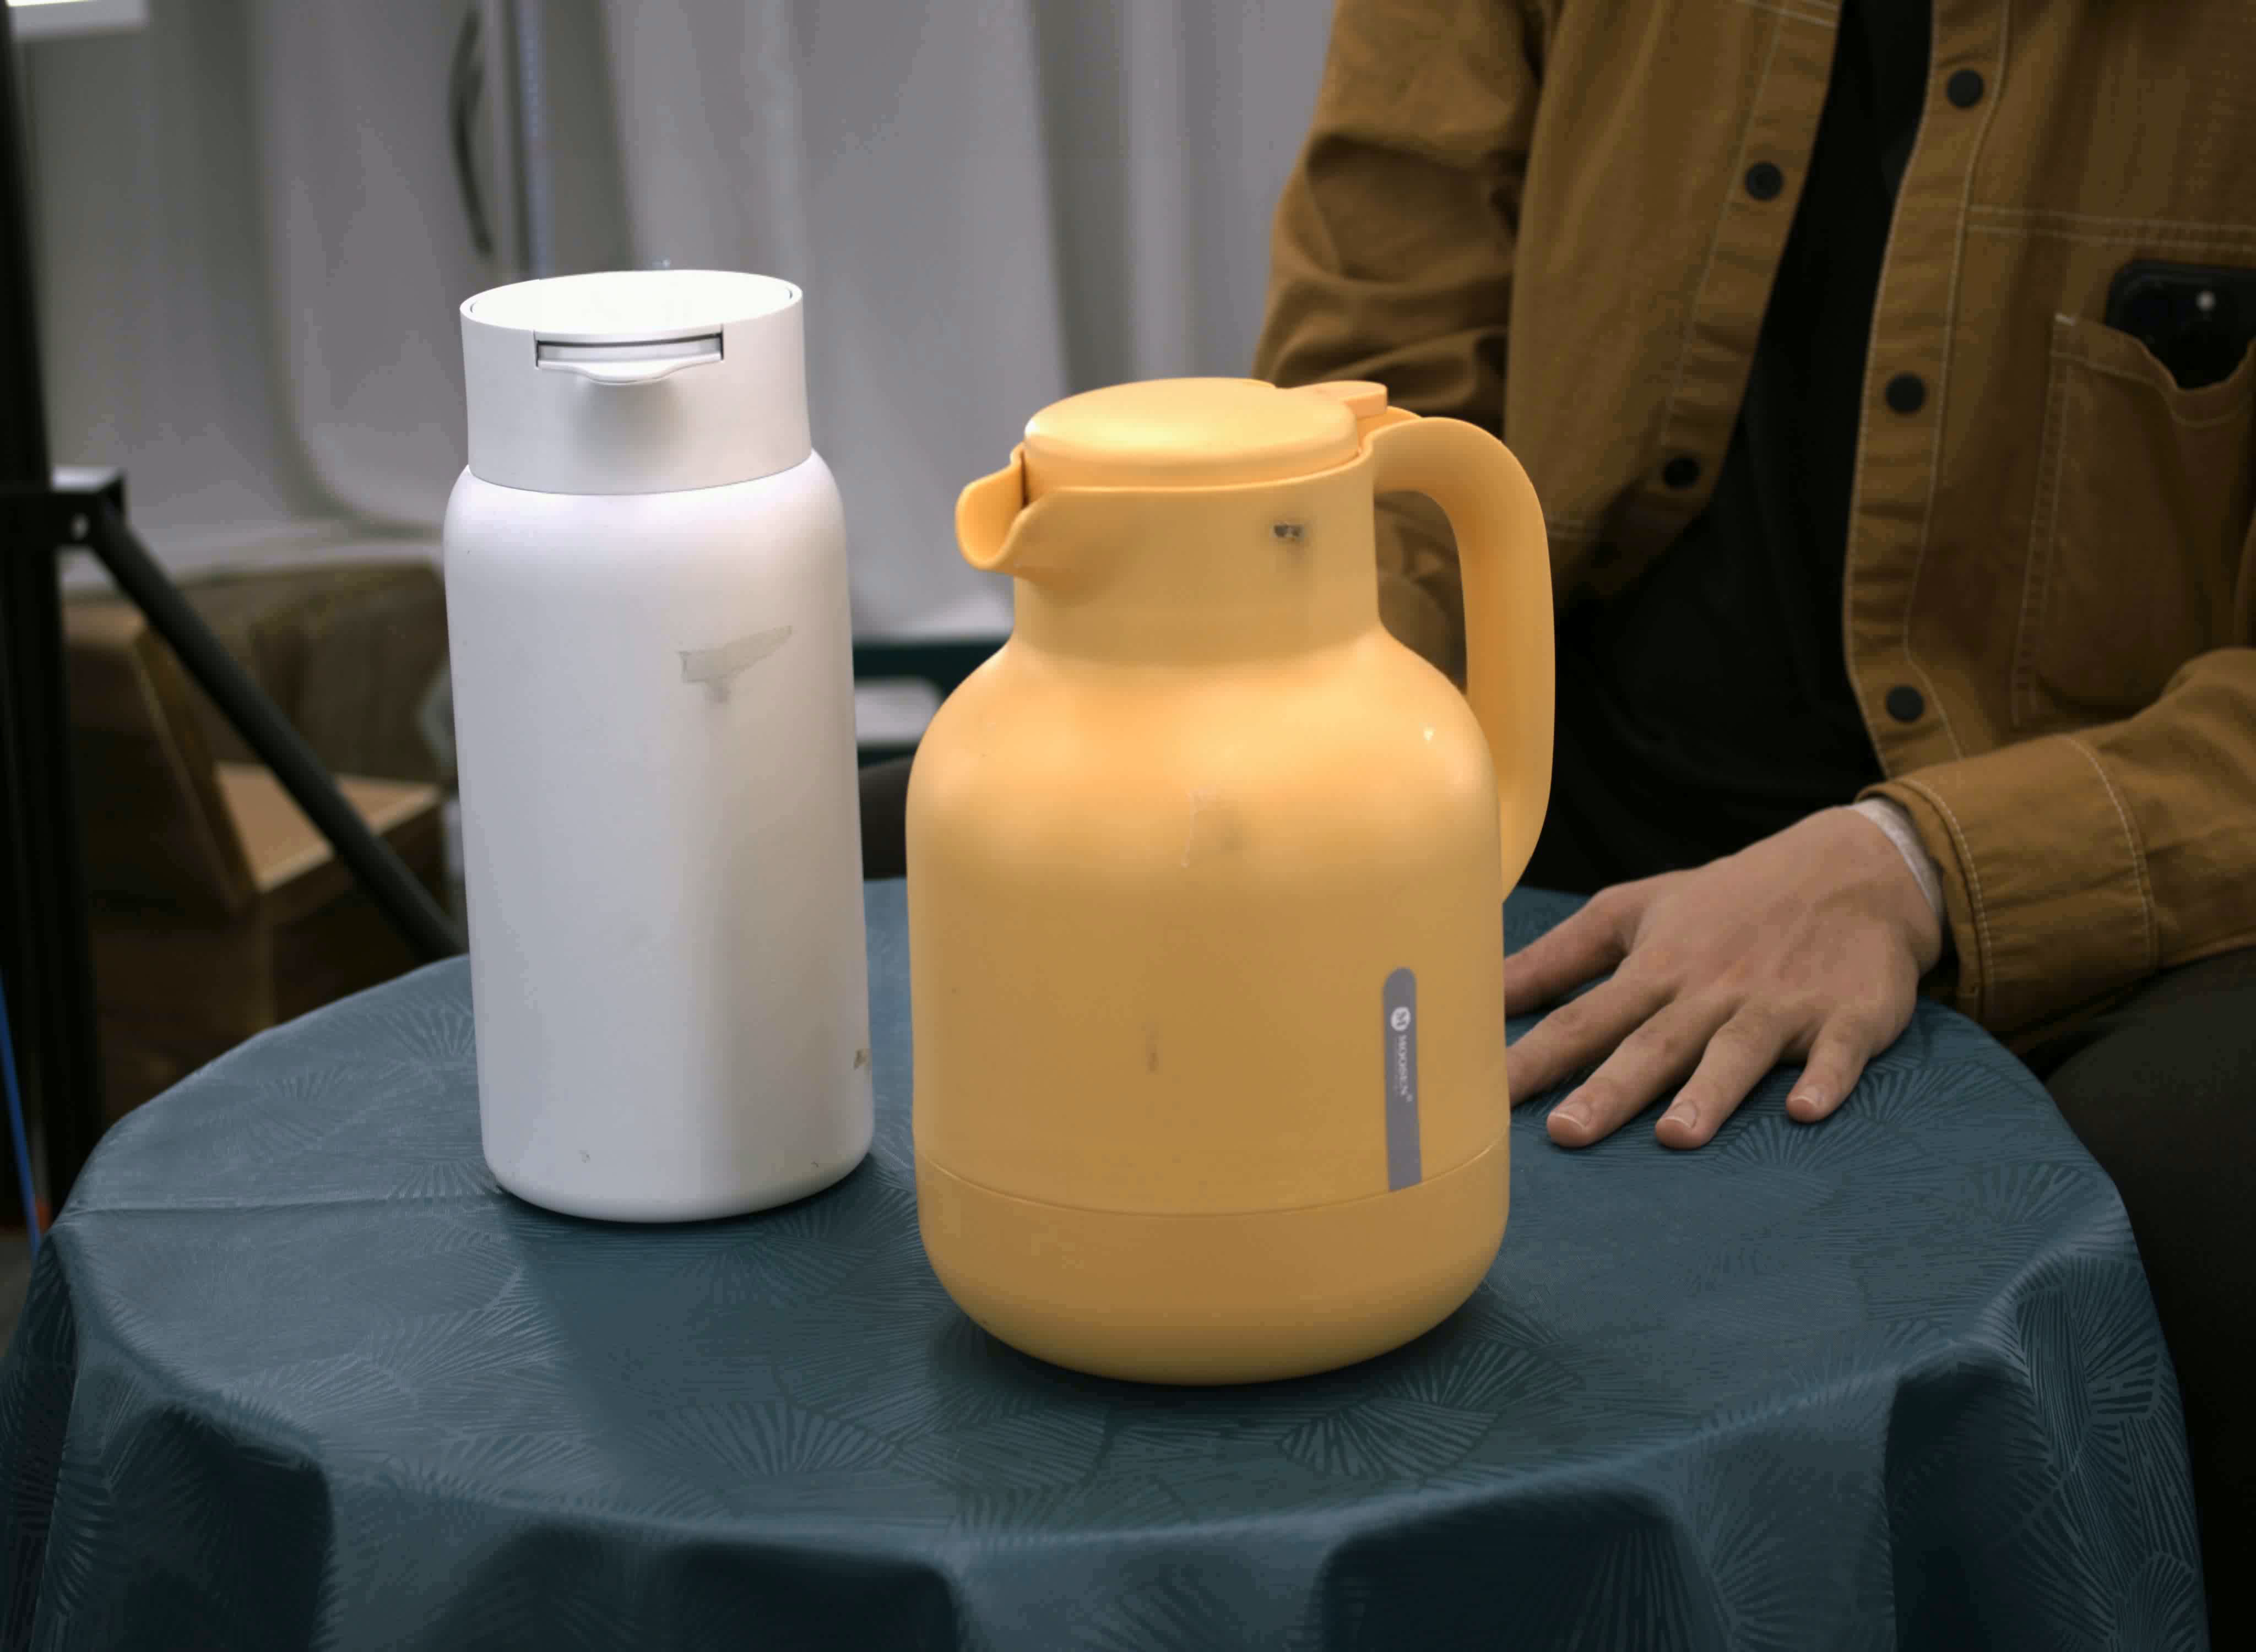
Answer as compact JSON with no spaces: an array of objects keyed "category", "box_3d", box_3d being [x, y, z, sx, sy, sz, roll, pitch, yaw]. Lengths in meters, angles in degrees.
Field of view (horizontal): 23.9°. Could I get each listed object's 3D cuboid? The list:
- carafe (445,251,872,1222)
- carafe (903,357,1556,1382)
[{"category":"carafe","box_3d":[-0.140,-0.030,1.579,0.123,0.269,0.174,-5,15,-2]},{"category":"carafe","box_3d":[0.036,0.004,1.433,0.198,0.260,0.167,-15,22,-34]}]
